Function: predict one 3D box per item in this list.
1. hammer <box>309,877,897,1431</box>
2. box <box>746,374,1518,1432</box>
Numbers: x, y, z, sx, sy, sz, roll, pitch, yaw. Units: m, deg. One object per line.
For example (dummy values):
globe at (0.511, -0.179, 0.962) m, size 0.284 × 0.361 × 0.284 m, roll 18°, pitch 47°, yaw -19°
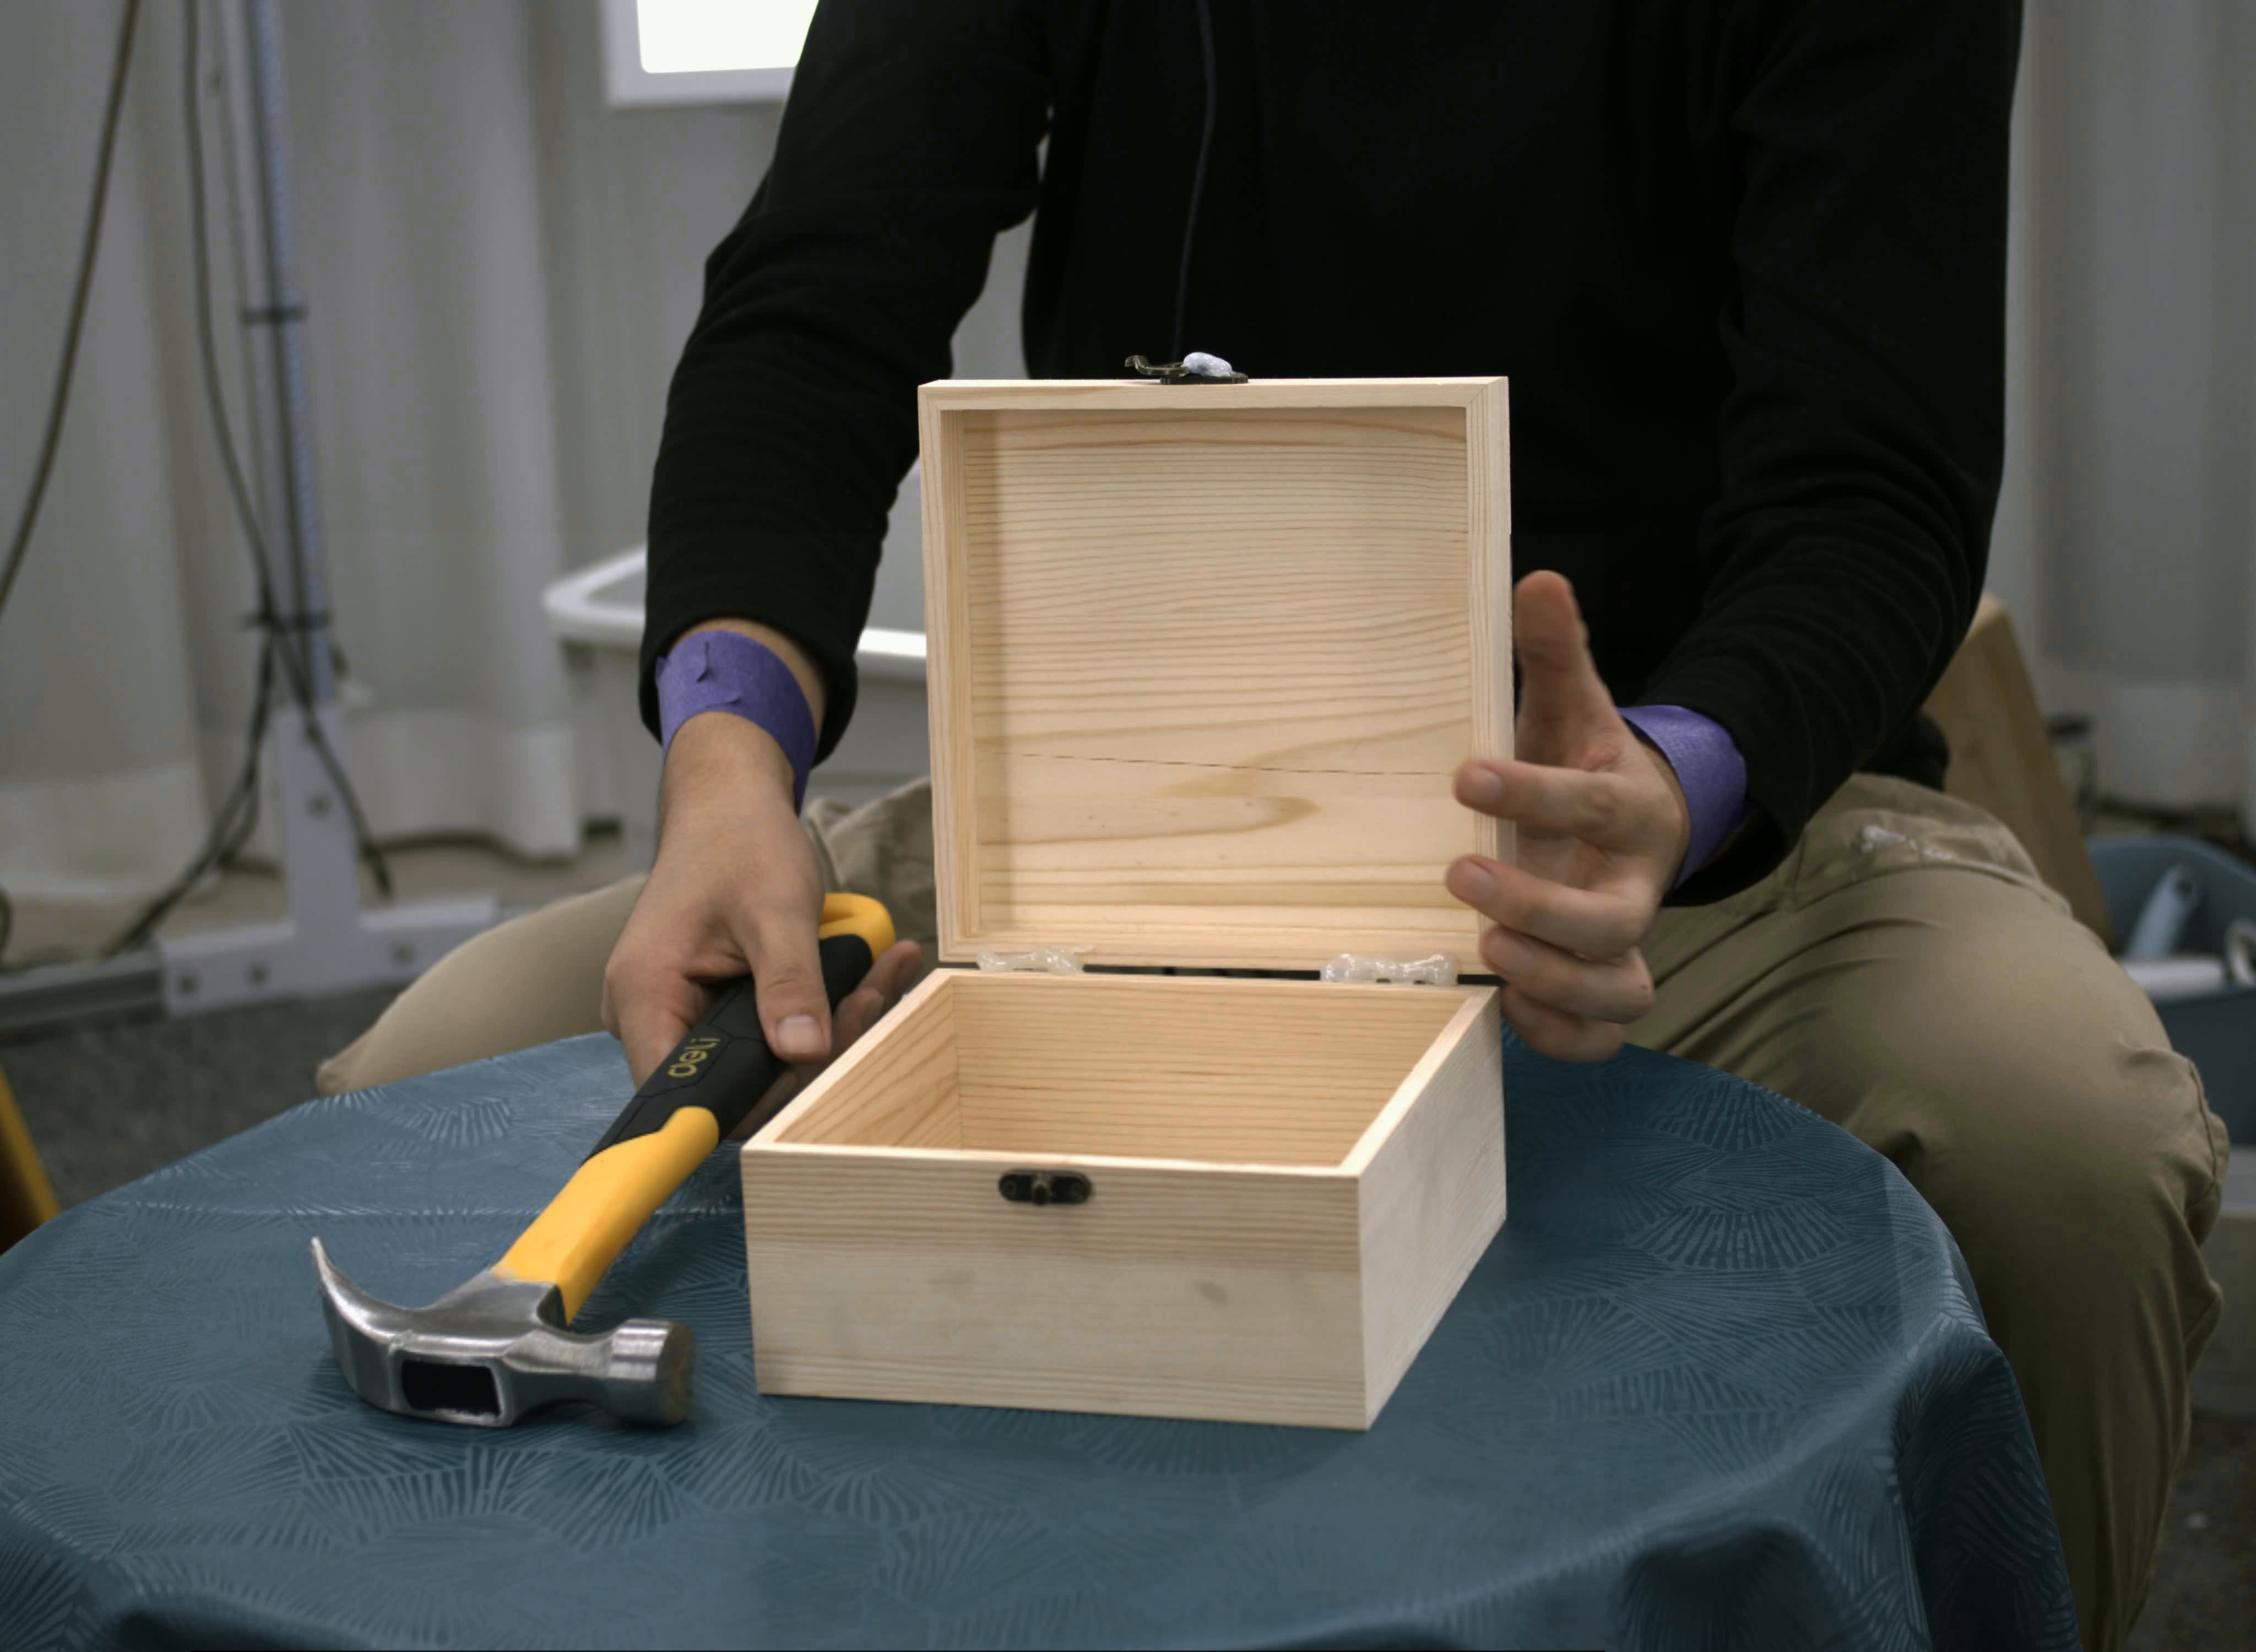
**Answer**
hammer at (-0.143, 0.092, 1.687) m, size 0.131 × 0.032 × 0.341 m, roll 1°, pitch 23°, yaw 18°
box at (0.008, 0.013, 1.615) m, size 0.181 × 0.252 × 0.266 m, roll -1°, pitch 14°, yaw 16°
